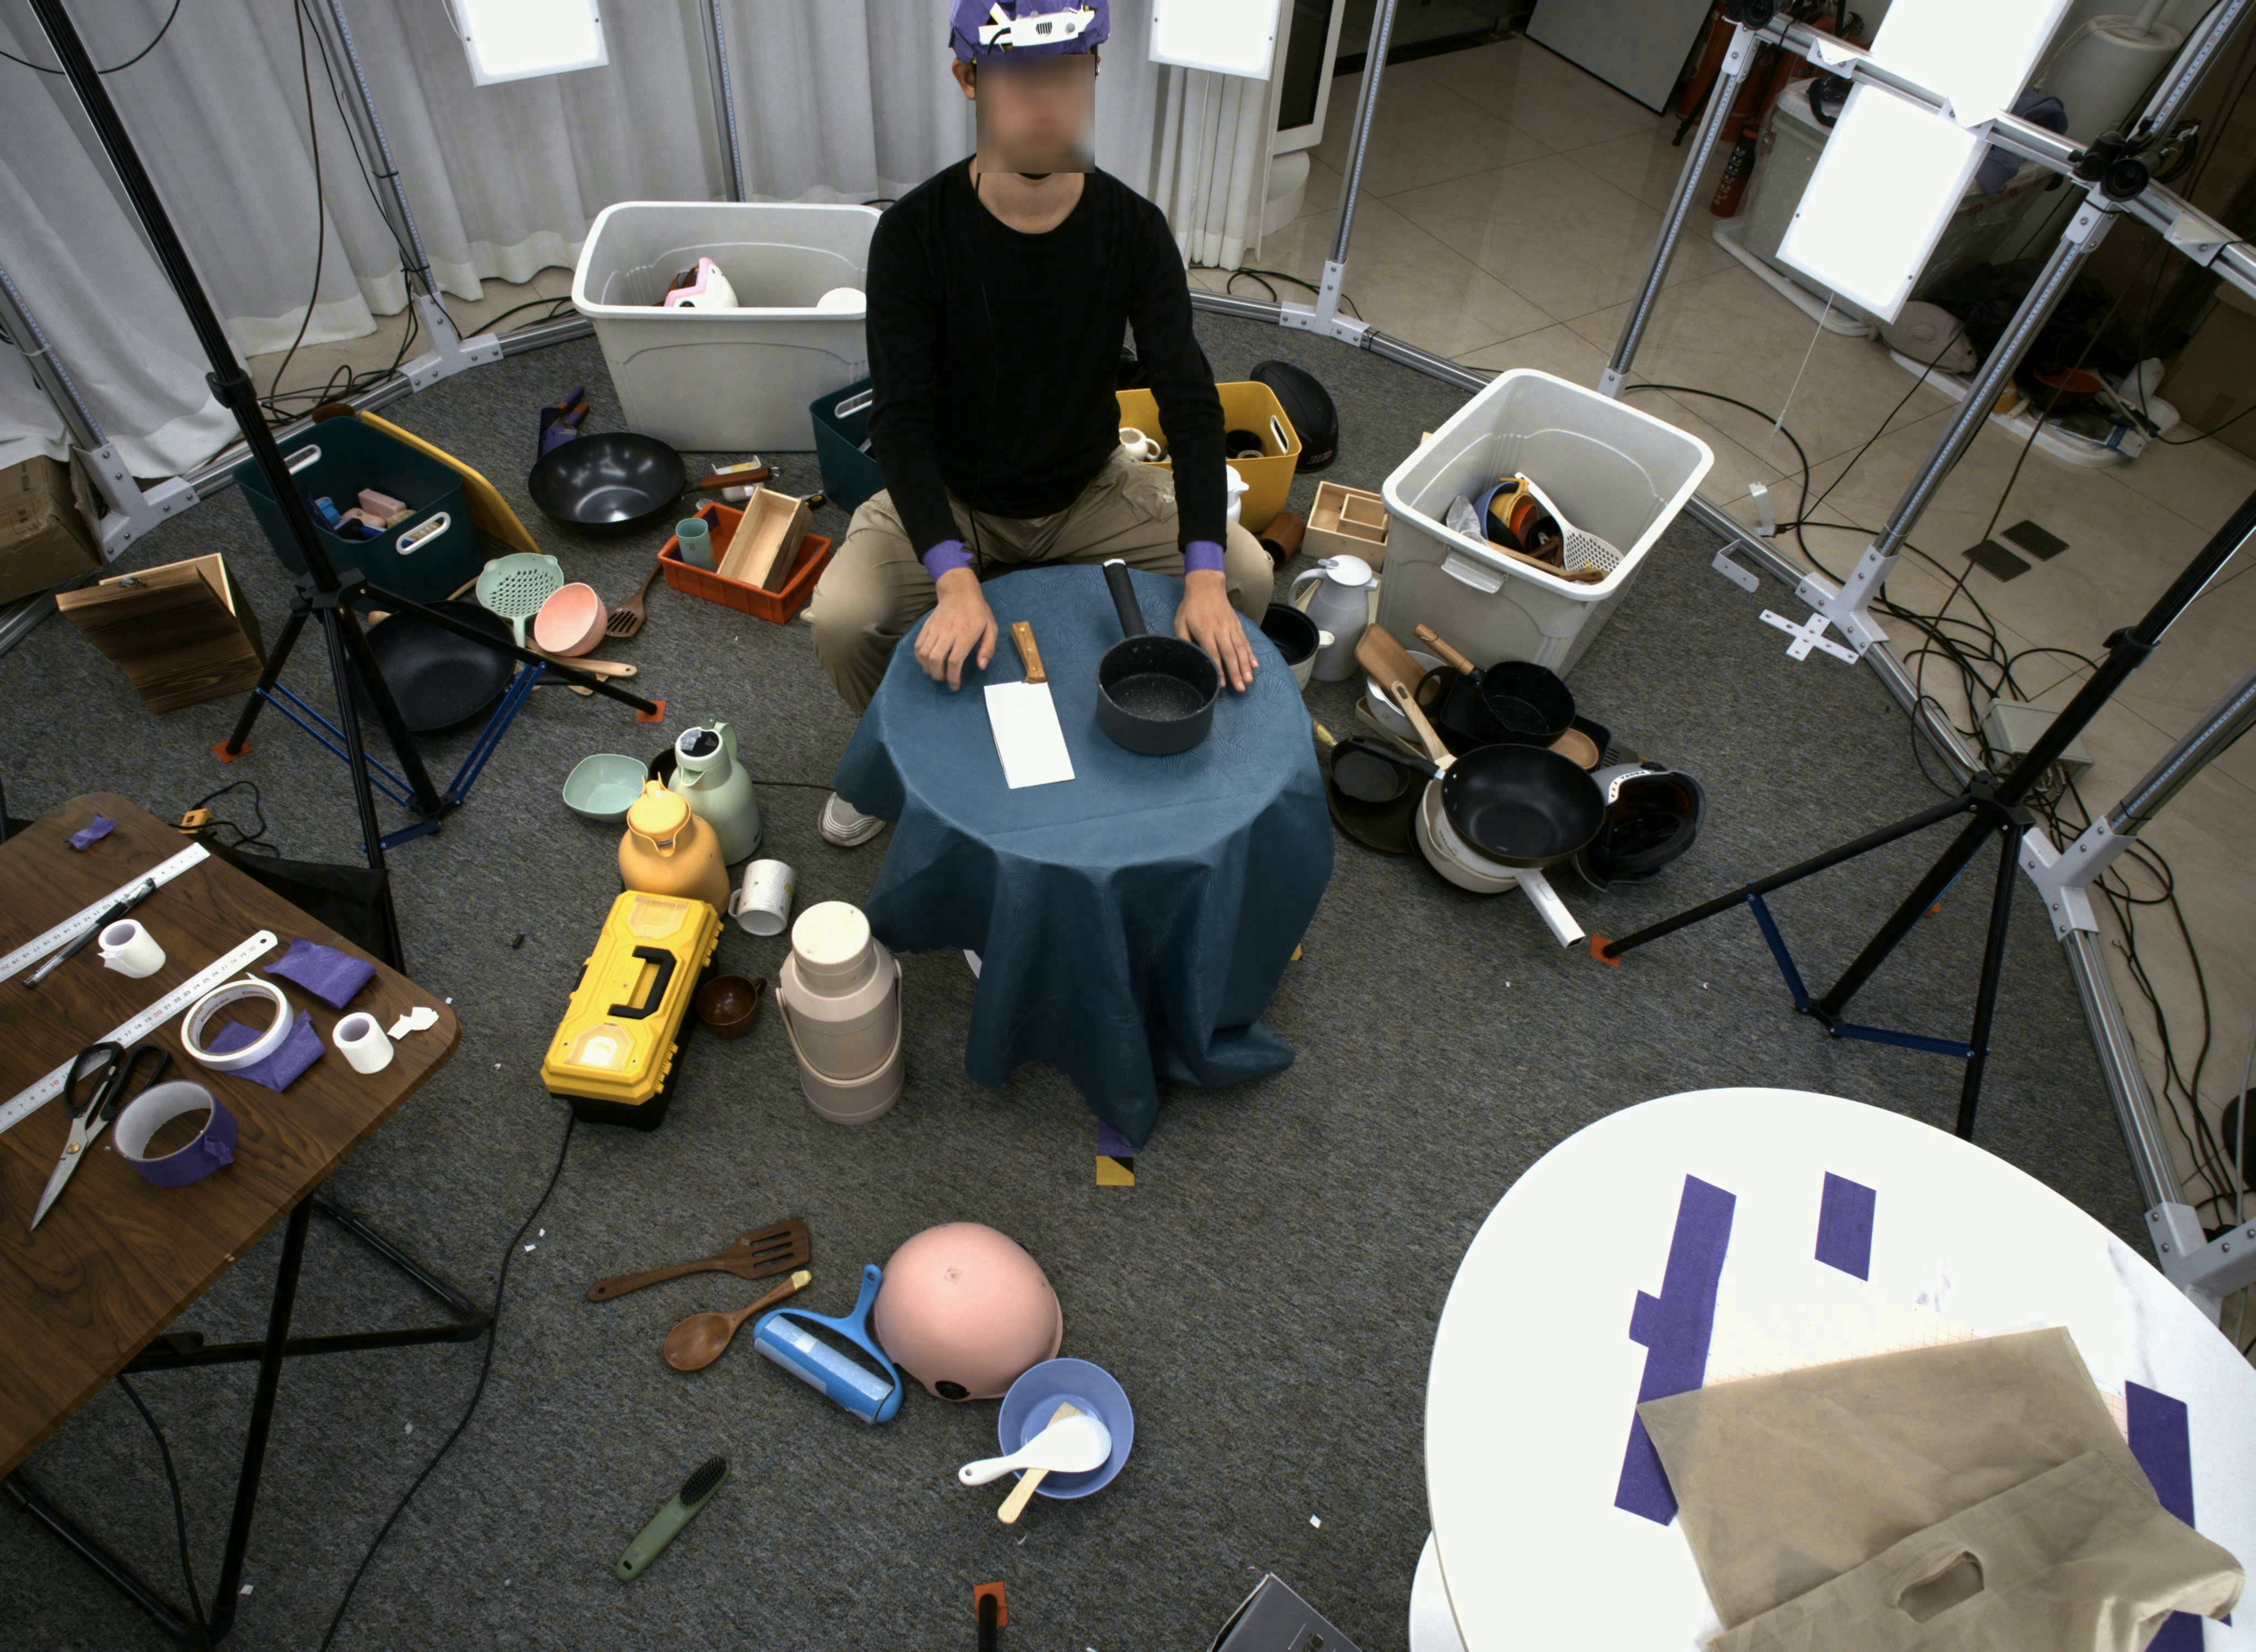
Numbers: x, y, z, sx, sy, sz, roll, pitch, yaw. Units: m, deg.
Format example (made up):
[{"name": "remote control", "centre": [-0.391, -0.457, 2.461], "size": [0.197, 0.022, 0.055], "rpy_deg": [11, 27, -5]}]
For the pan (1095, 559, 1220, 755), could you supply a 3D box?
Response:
[{"name": "pan", "centre": [0.022, -0.244, 1.829], "size": [0.172, 0.084, 0.337], "rpy_deg": [-7, 51, -10]}]

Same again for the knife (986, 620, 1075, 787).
[{"name": "knife", "centre": [-0.149, -0.175, 1.802], "size": [0.093, 0.020, 0.313], "rpy_deg": [-10, 52, -10]}]
